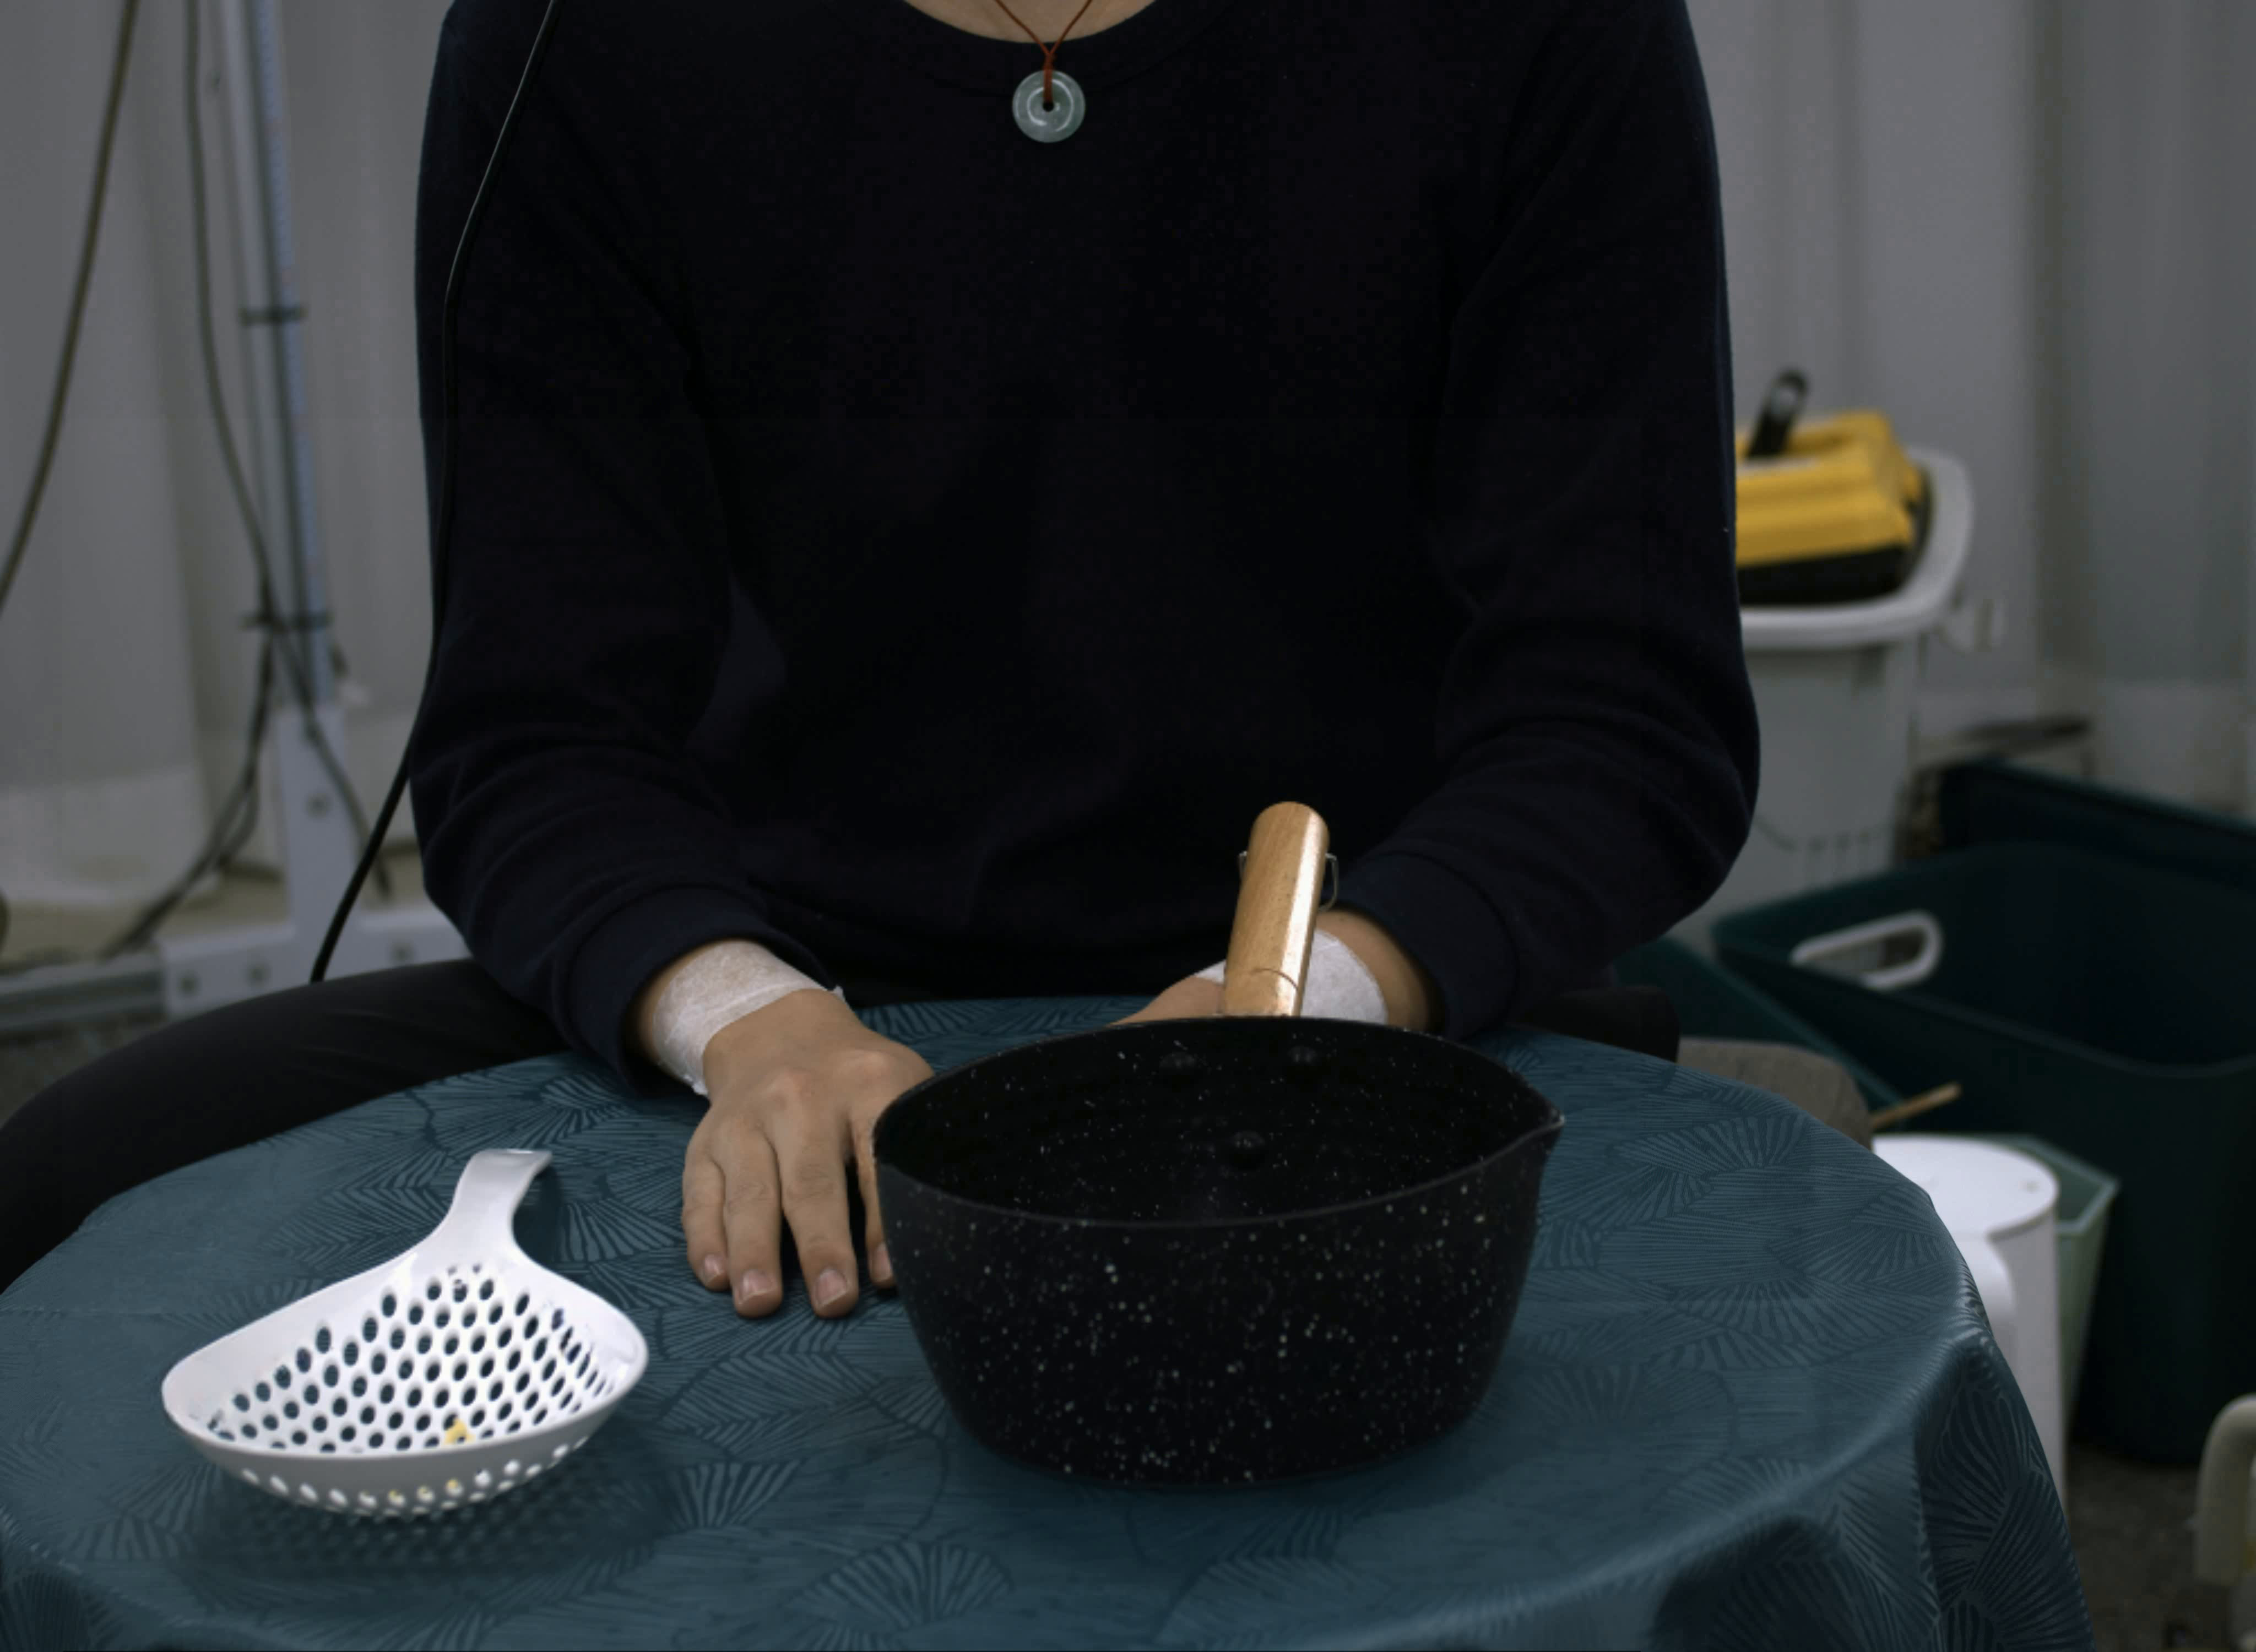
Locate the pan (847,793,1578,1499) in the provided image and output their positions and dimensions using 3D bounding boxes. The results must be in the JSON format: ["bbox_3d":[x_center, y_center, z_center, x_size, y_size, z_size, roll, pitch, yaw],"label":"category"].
[{"bbox_3d":[0.032,0.088,1.602,0.207,0.108,0.345,-2,16,7],"label":"pan"}]

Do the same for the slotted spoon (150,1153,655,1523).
[{"bbox_3d":[-0.196,0.135,1.597,0.136,0.050,0.350,-4,17,1],"label":"slotted spoon"}]
